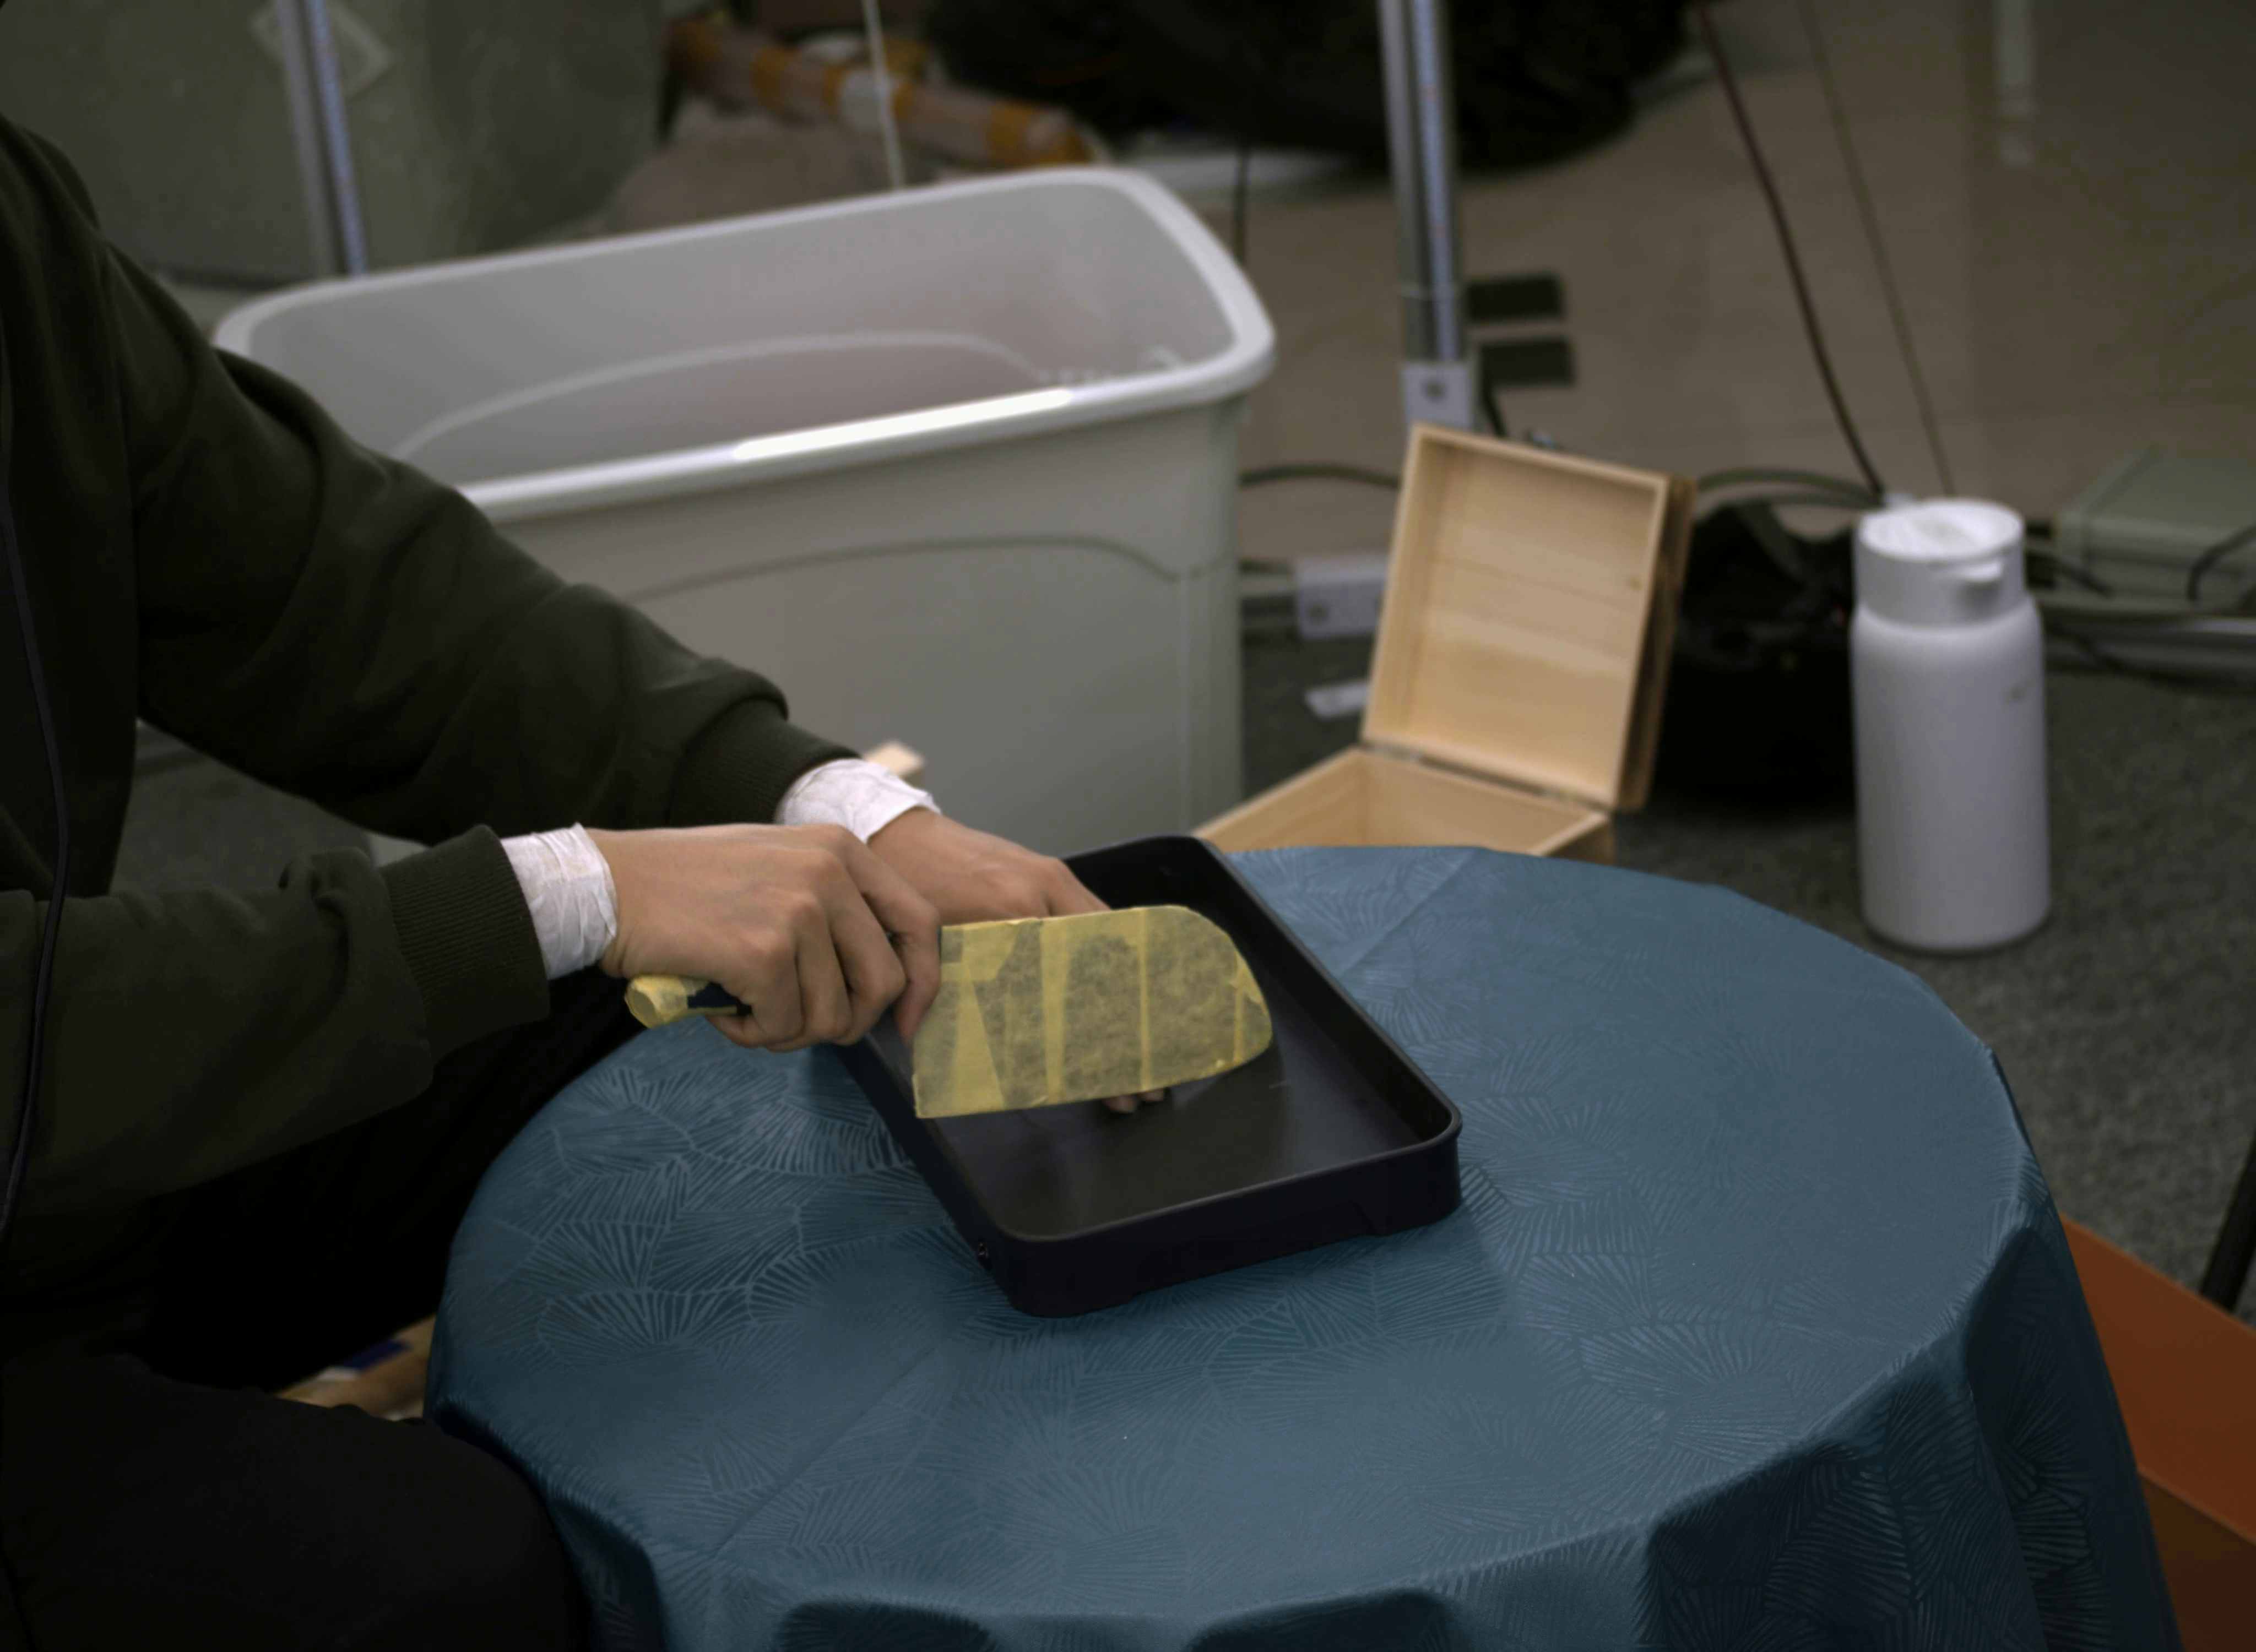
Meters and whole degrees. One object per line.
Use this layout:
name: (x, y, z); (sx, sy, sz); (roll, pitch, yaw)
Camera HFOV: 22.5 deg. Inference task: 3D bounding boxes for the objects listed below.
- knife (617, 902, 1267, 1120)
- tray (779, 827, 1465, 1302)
knife: (-0.065, 0.071, 2.149); (0.289, 0.081, 0.027); (-1, 2, -34)
tray: (-0.007, 0.088, 2.217); (0.183, 0.037, 0.314); (-14, 25, -16)
